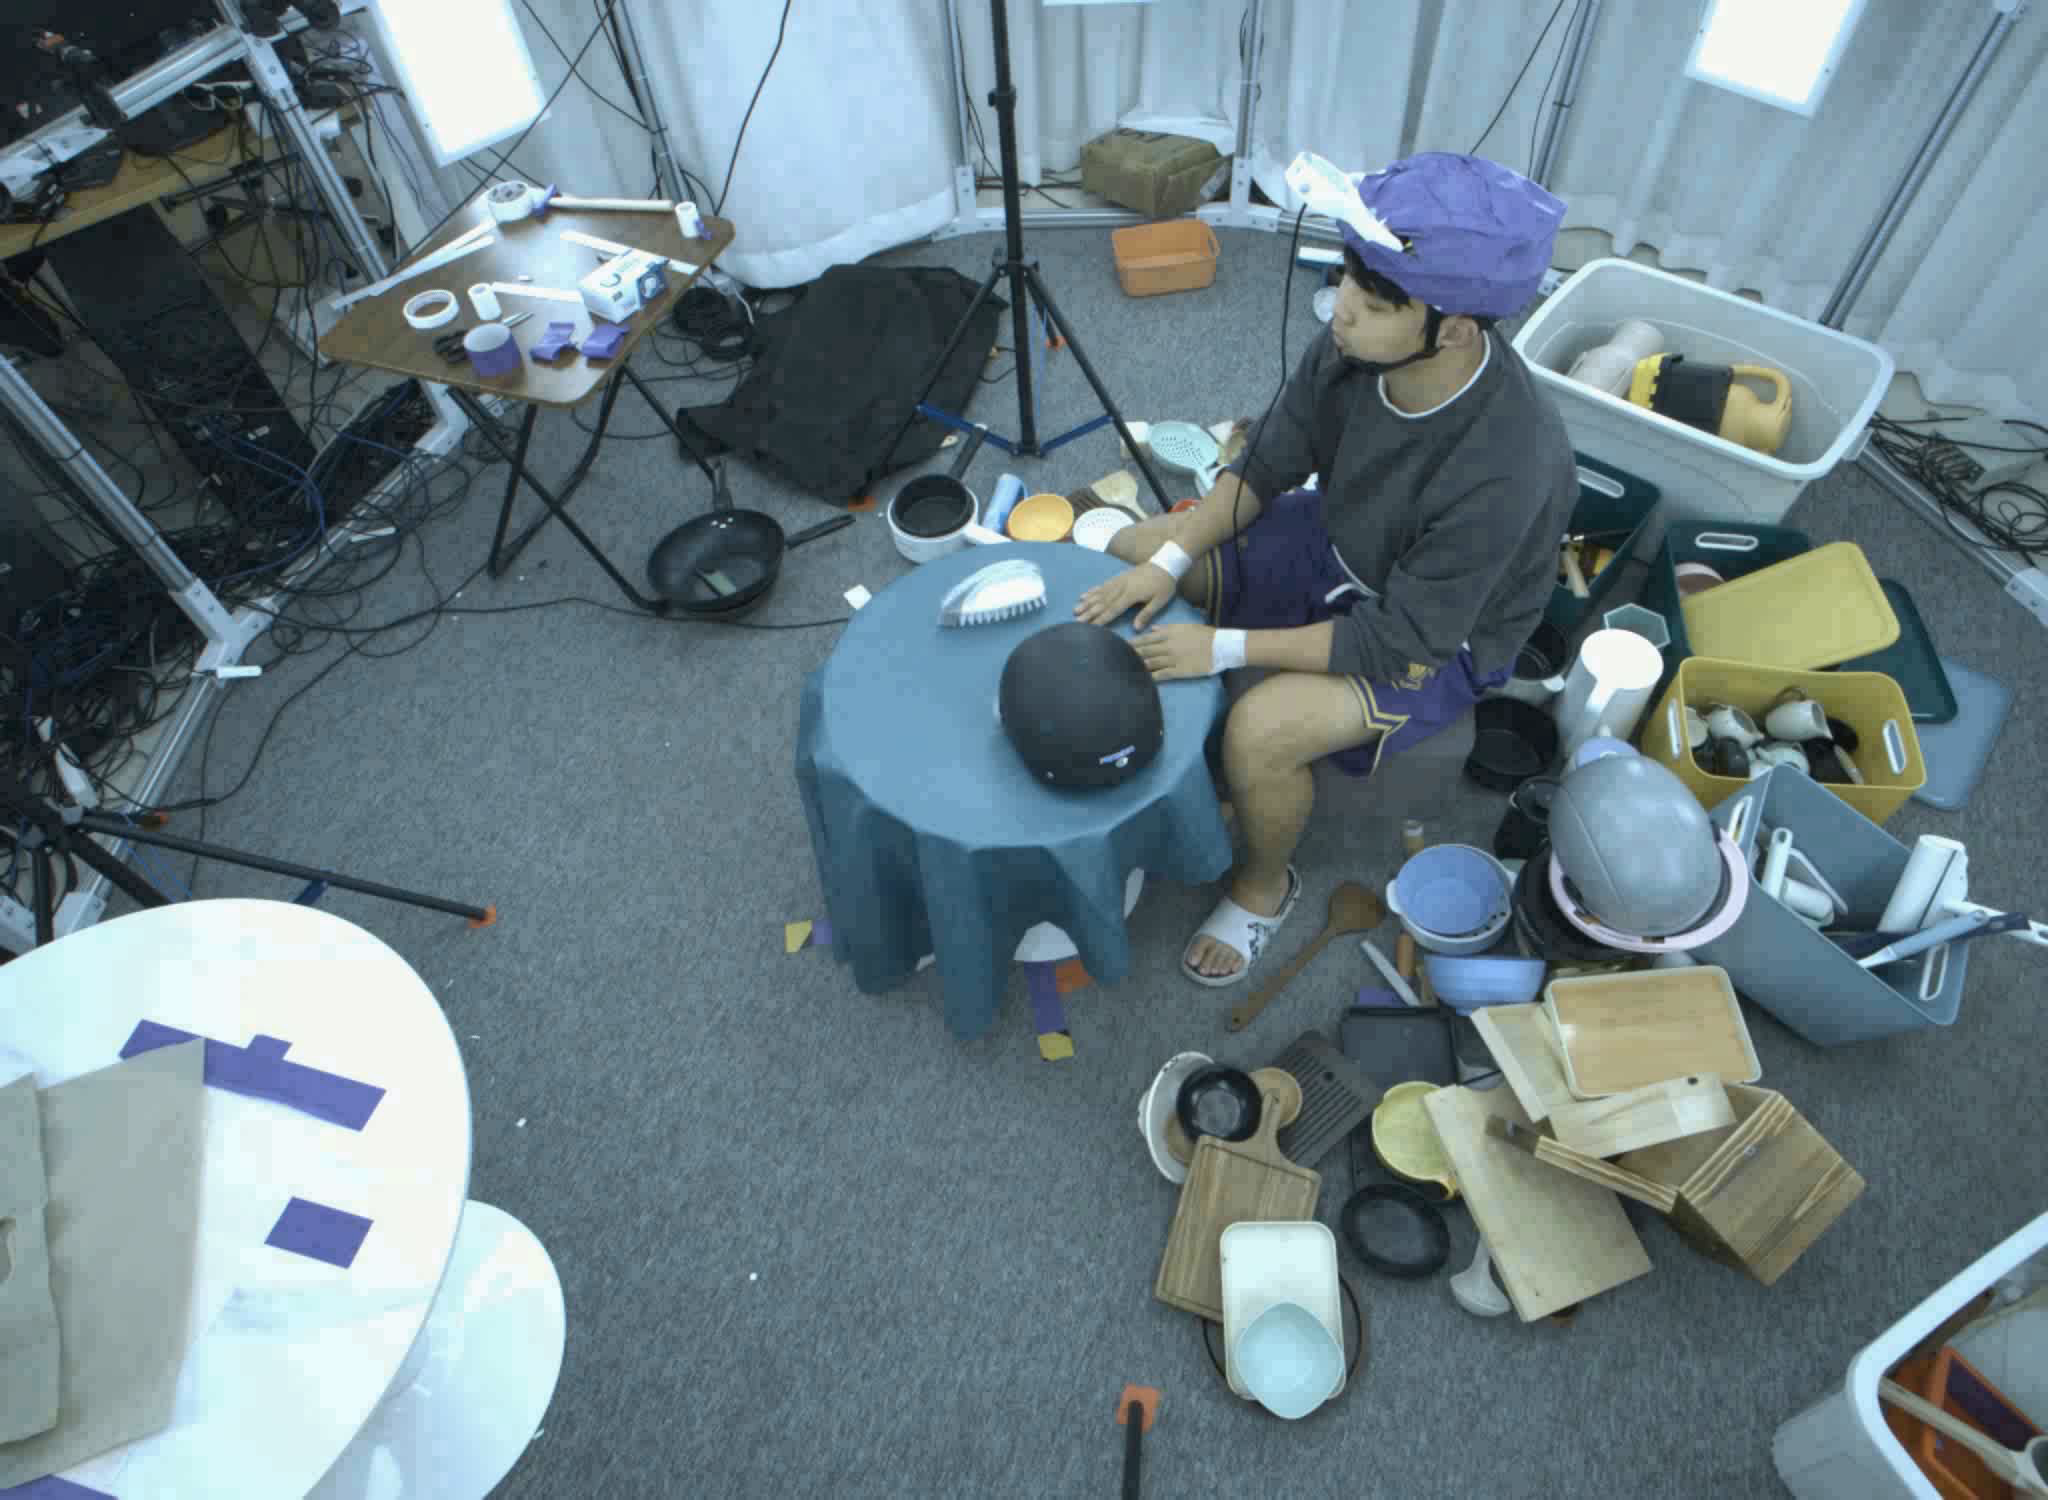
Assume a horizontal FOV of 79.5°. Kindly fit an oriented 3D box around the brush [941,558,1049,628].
[{"bbox_3d":[-0.051,-0.247,1.911,0.176,0.095,0.060,-19,53,-9],"label":"brush"}]

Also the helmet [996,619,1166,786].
[{"bbox_3d":[0.078,-0.088,1.751,0.231,0.168,0.268,-19,54,-11],"label":"helmet"}]
